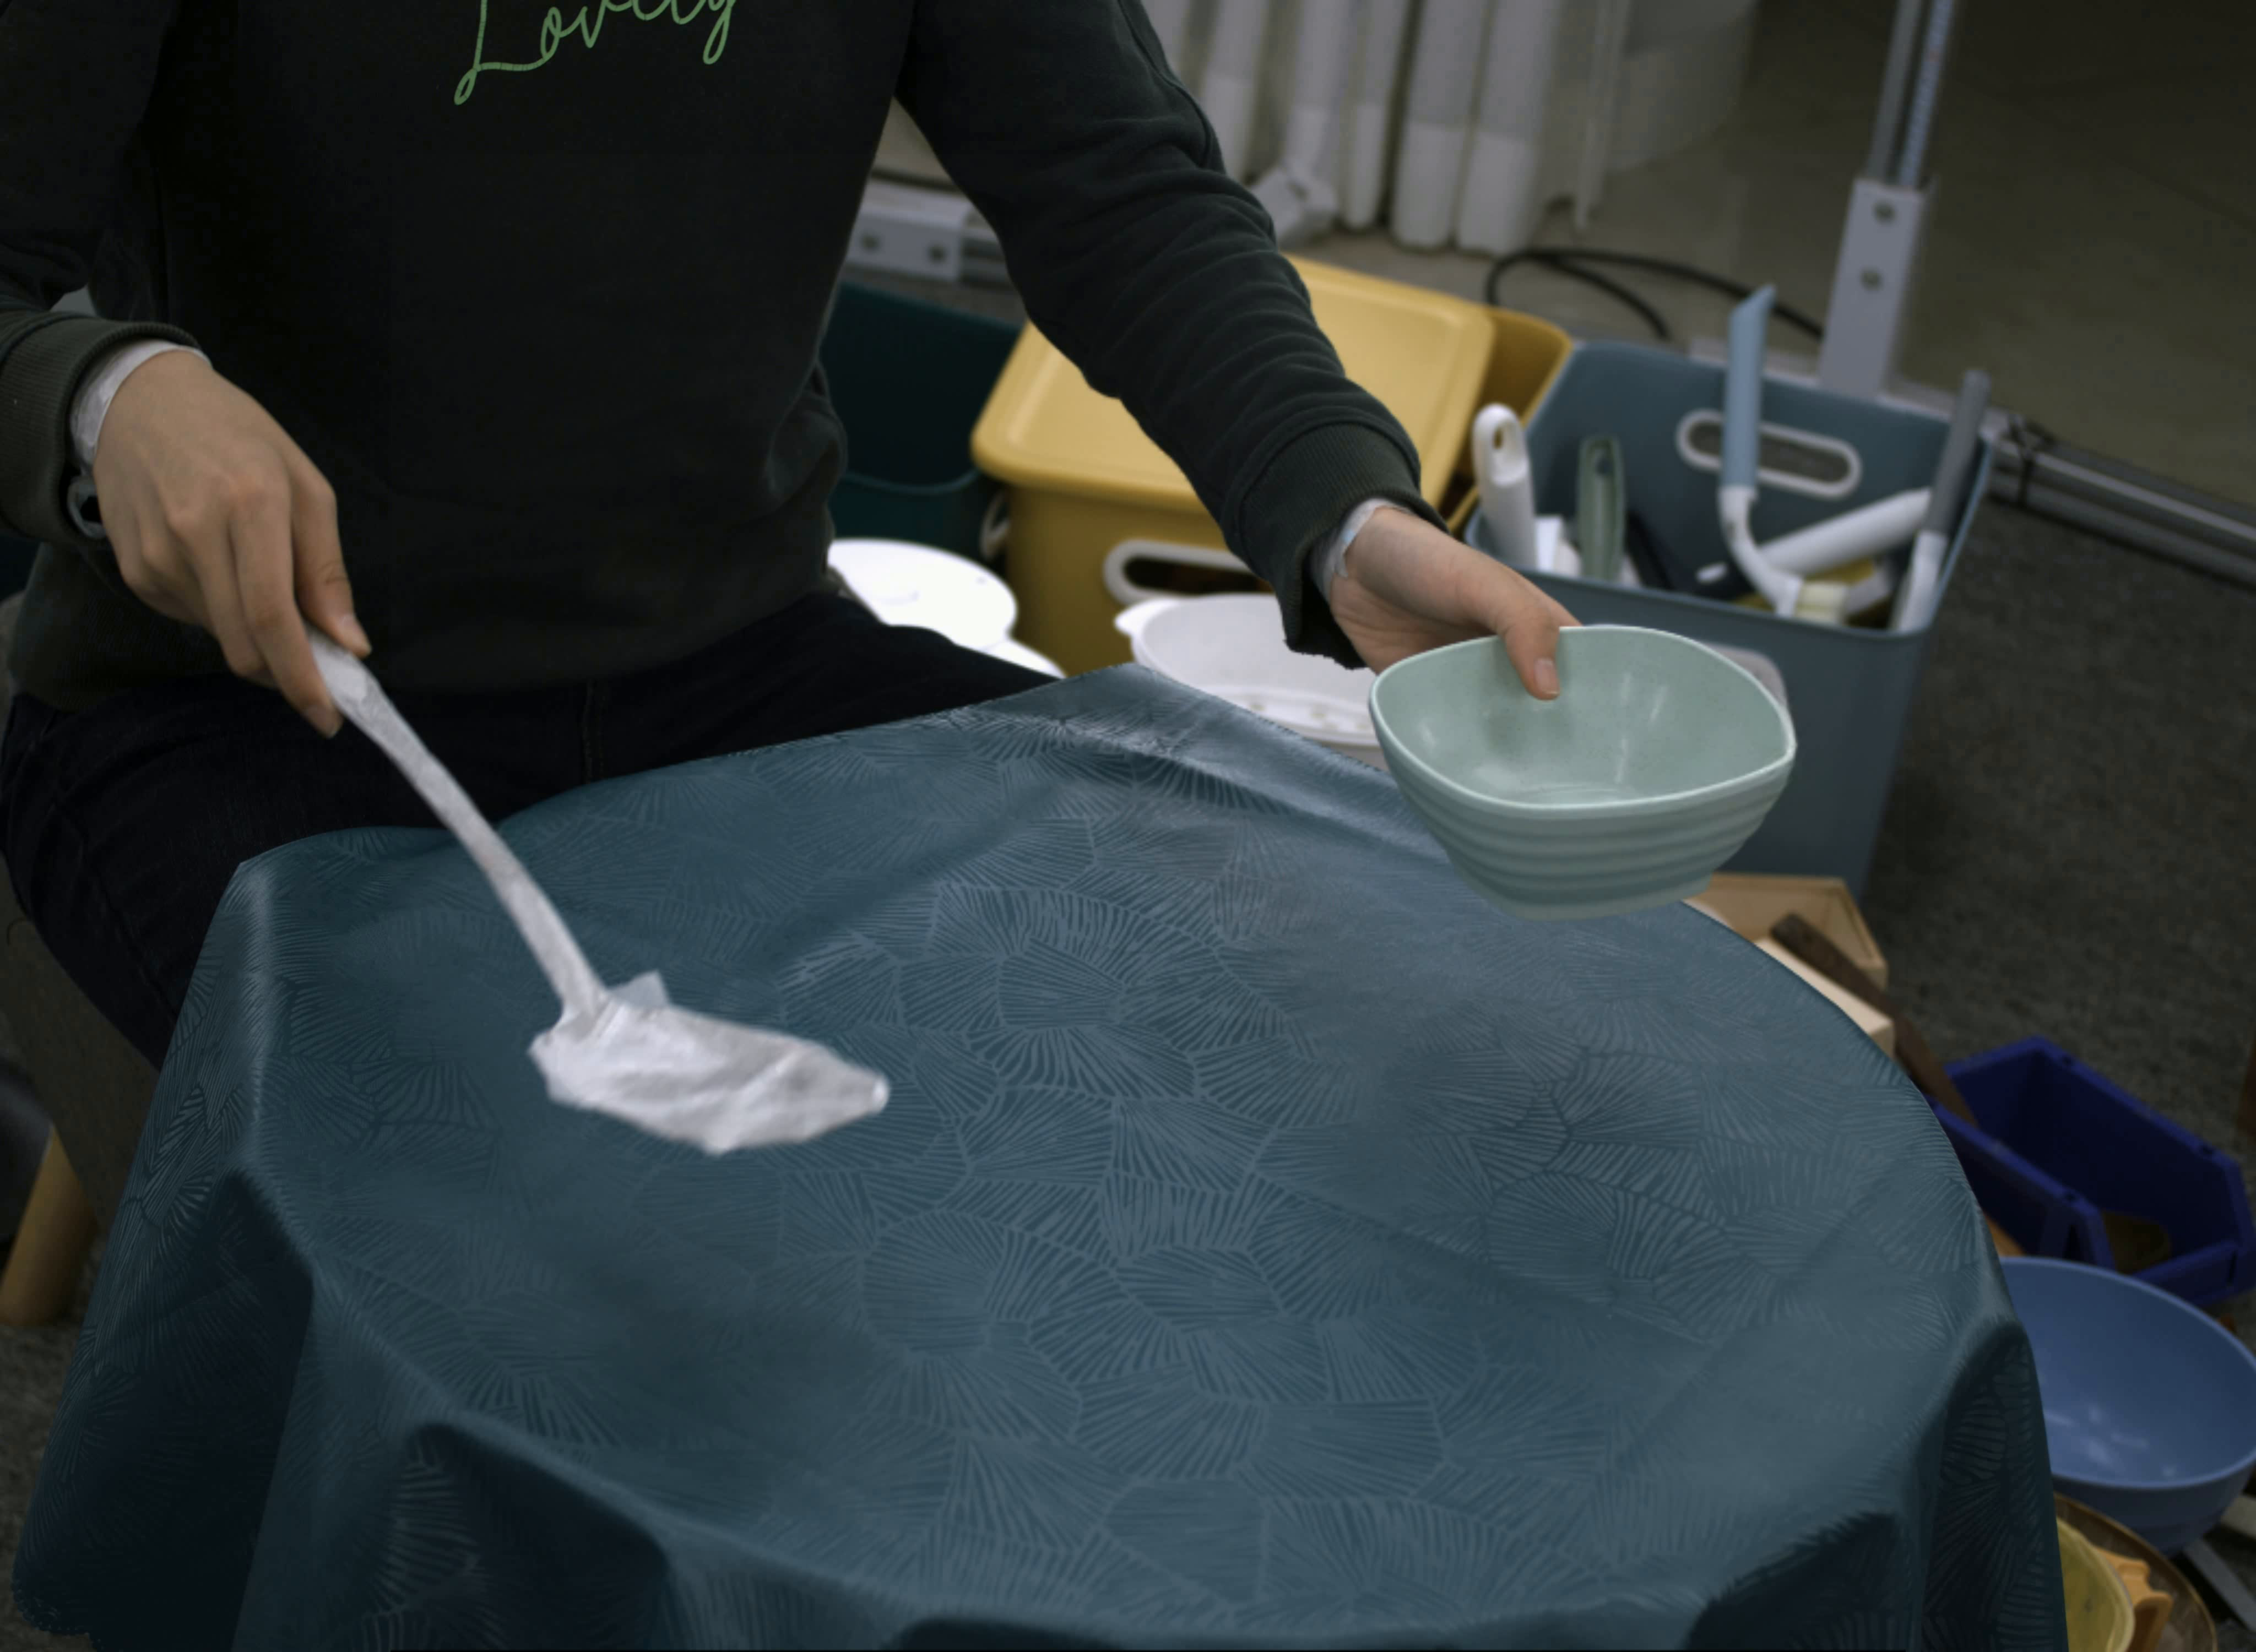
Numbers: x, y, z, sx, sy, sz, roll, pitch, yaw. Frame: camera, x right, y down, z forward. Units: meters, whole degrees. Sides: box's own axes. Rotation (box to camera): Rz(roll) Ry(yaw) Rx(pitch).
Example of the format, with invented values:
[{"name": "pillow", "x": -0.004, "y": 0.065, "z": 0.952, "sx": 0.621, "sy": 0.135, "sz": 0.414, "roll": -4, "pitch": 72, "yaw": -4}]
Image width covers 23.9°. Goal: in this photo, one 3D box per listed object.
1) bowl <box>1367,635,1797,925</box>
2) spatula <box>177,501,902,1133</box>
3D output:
[{"name": "bowl", "x": 0.154, "y": -0.011, "z": 1.830, "sx": 0.151, "sy": 0.058, "sz": 0.152, "roll": 1, "pitch": 25, "yaw": -1}, {"name": "spatula", "x": -0.210, "y": -0.011, "z": 1.714, "sx": 0.098, "sy": 0.044, "sz": 0.368, "roll": -11, "pitch": 47, "yaw": -43}]
